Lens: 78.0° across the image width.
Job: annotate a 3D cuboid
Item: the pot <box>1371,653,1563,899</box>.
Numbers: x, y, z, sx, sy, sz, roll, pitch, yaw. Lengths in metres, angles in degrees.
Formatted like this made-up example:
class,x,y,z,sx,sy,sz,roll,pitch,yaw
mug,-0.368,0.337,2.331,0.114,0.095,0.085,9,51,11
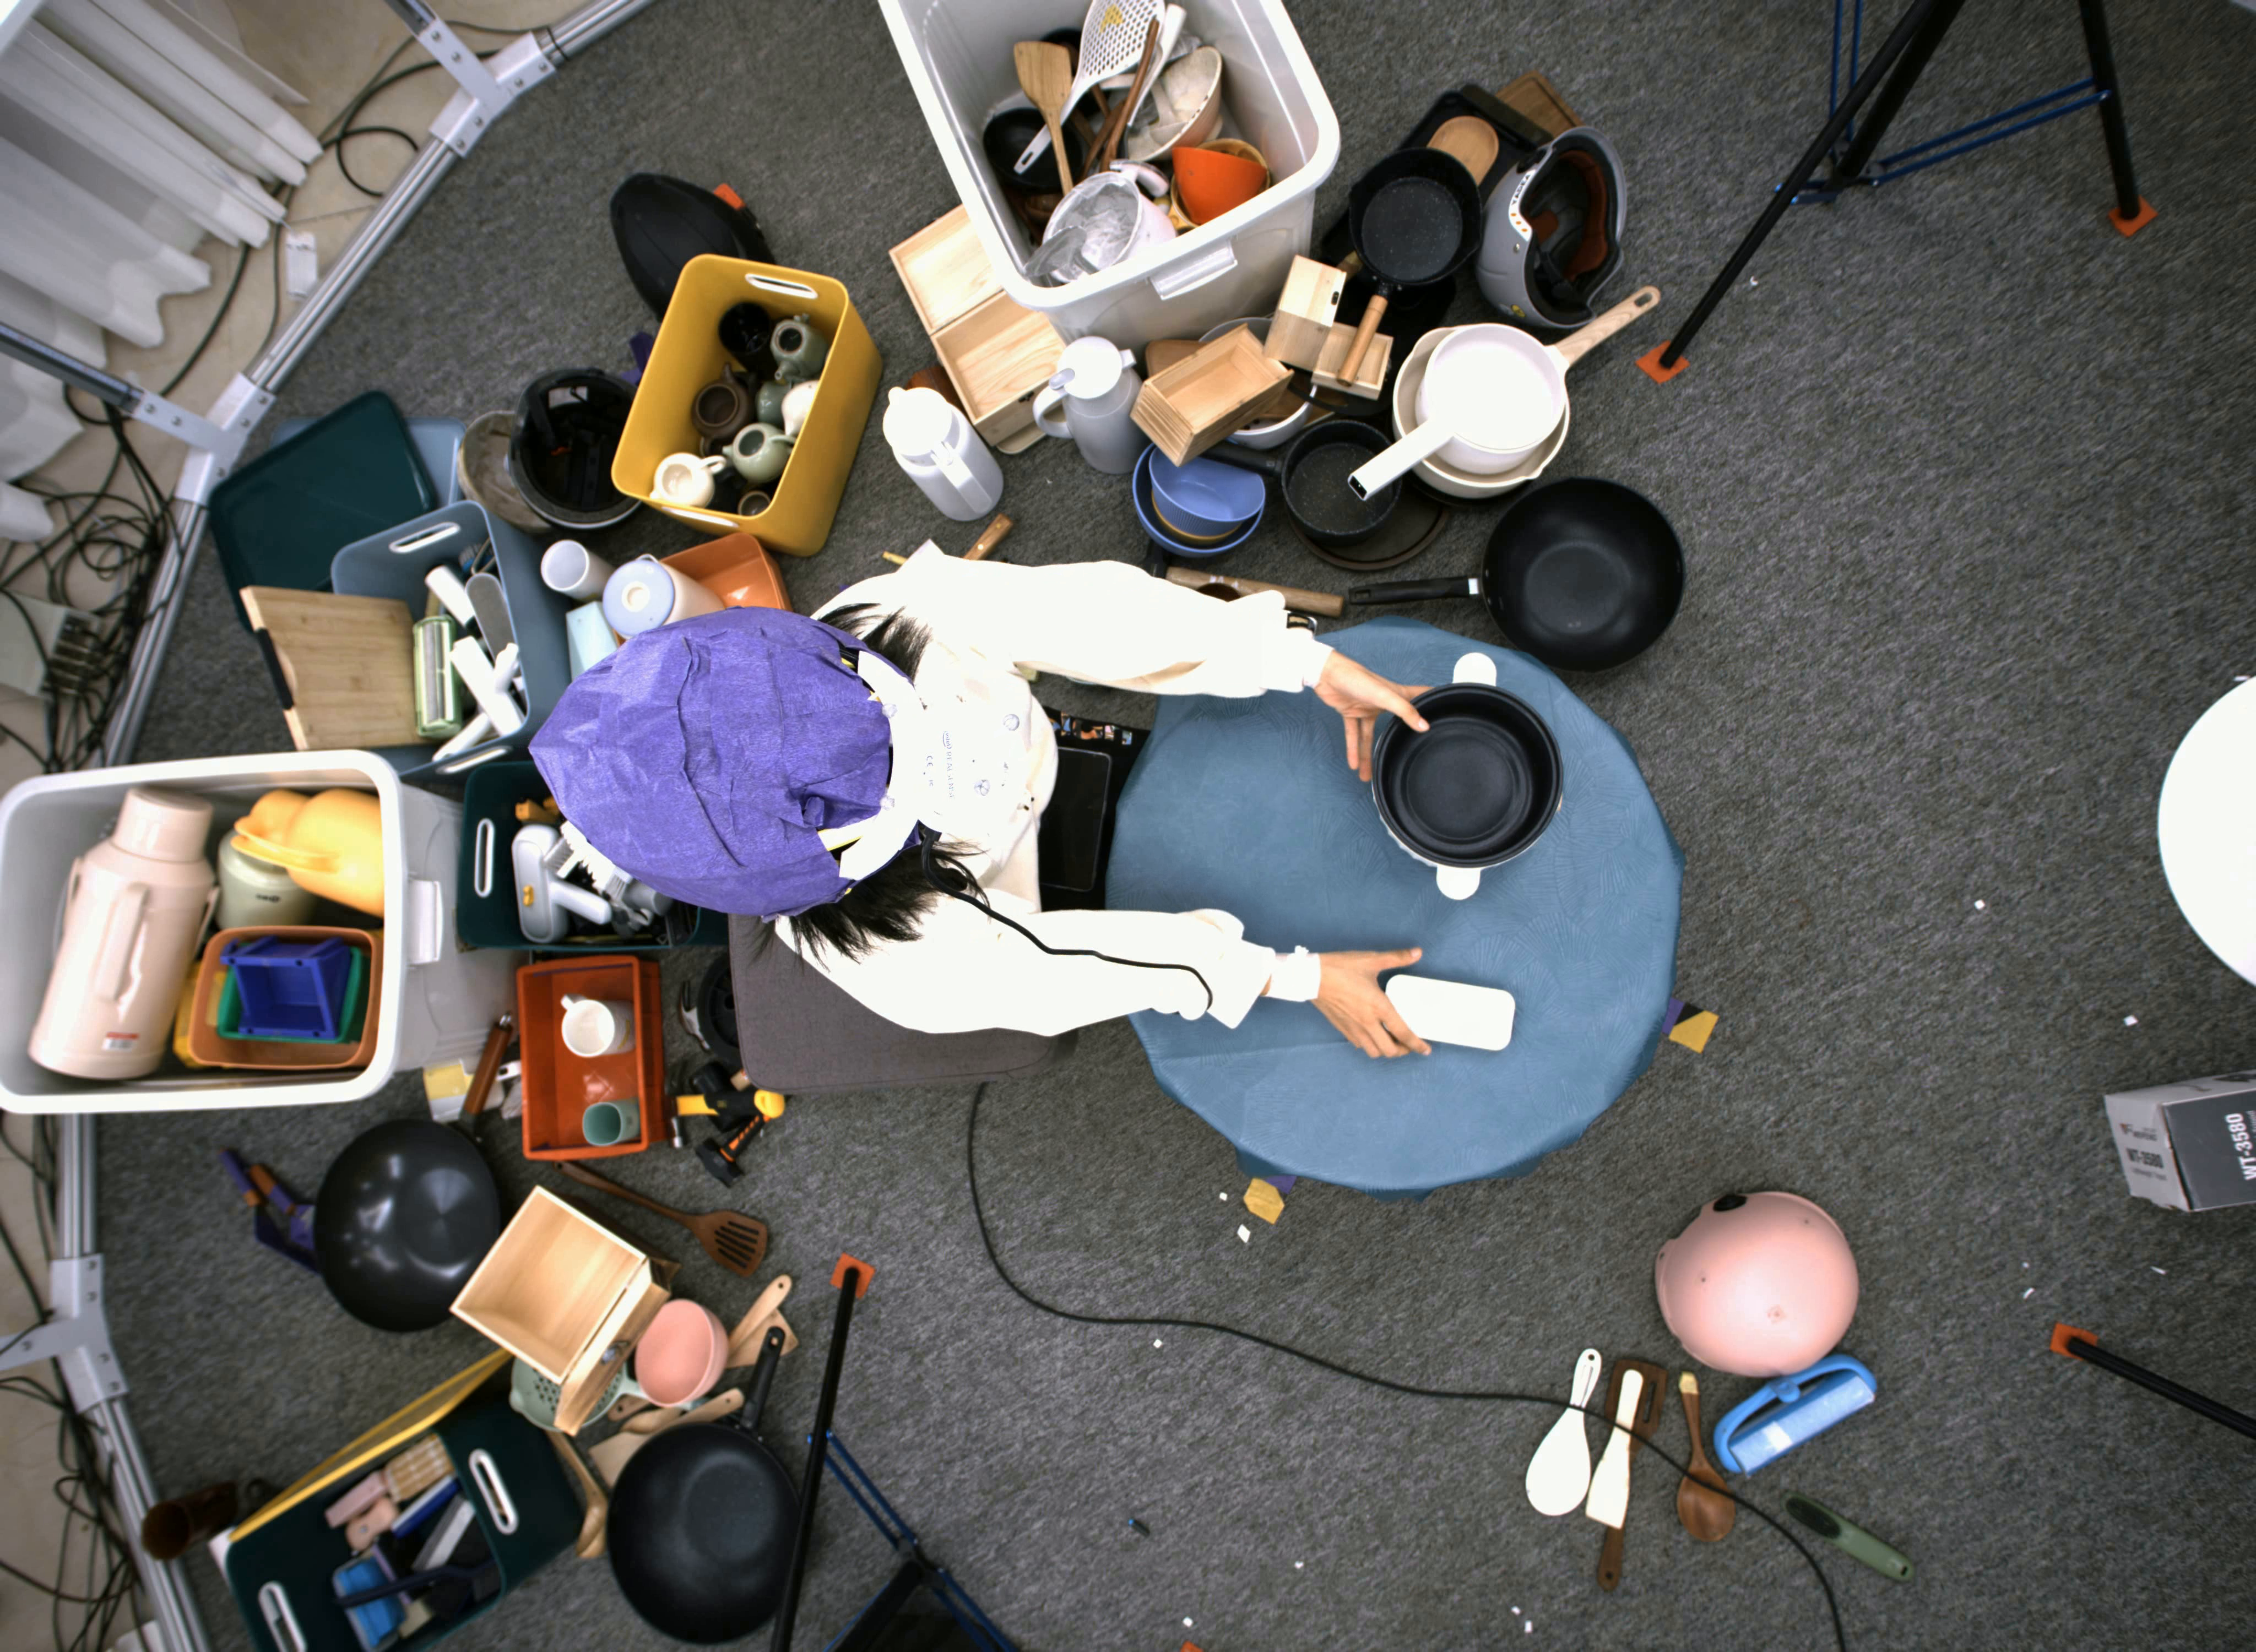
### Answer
class,x,y,z,sx,sy,sz,roll,pitch,yaw
pot,0.342,-0.045,1.382,0.191,0.142,0.239,4,88,14

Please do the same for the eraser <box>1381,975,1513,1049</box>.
class,x,y,z,sx,sy,sz,roll,pitch,yaw
eraser,0.329,0.189,1.427,0.131,0.034,0.063,8,86,11
